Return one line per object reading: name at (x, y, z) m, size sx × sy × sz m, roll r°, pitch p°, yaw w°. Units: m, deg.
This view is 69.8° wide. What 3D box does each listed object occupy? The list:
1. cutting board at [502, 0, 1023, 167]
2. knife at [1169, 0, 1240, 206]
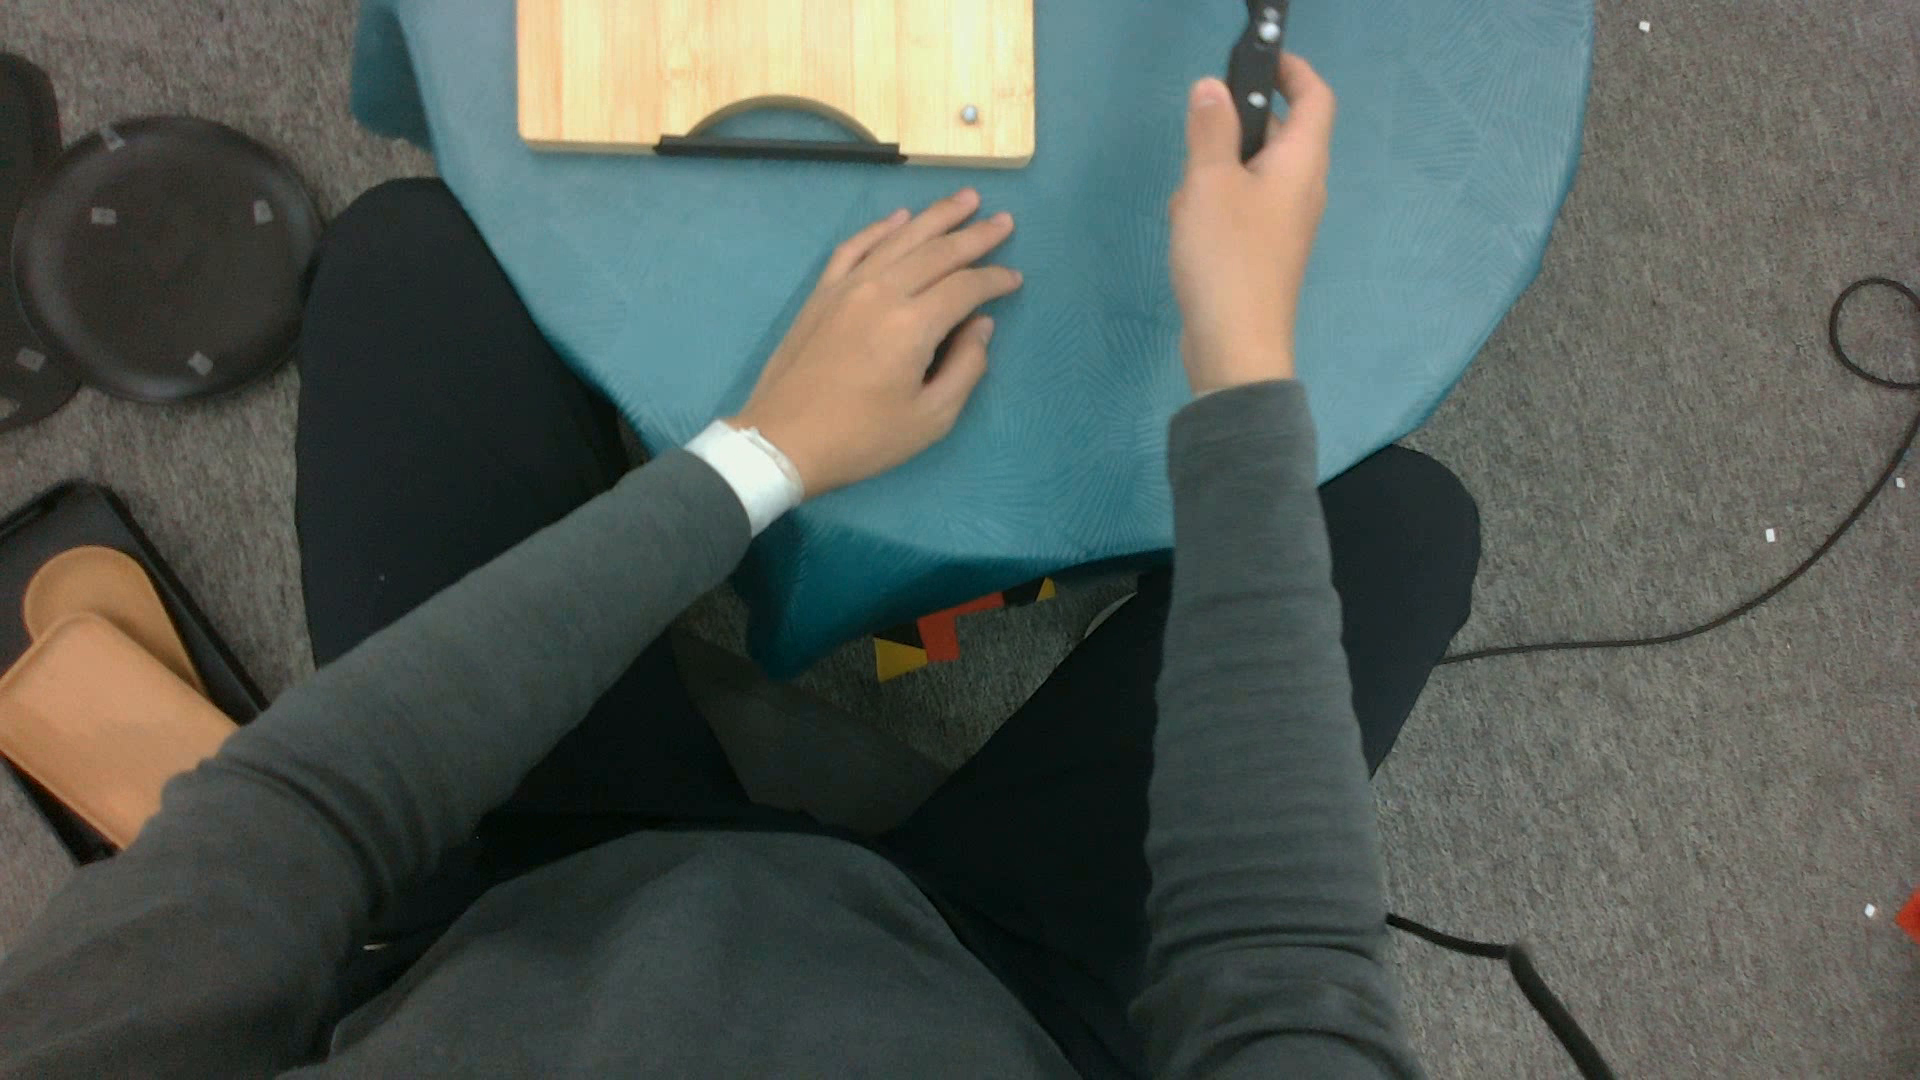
cutting board at (-0.090, -0.356, 0.661) m, size 0.251 × 0.023 × 0.348 m, roll -1°, pitch 88°, yaw -8°
knife at (0.116, -0.260, 0.605) m, size 0.024 × 0.016 × 0.238 m, roll 8°, pitch 83°, yaw 0°
